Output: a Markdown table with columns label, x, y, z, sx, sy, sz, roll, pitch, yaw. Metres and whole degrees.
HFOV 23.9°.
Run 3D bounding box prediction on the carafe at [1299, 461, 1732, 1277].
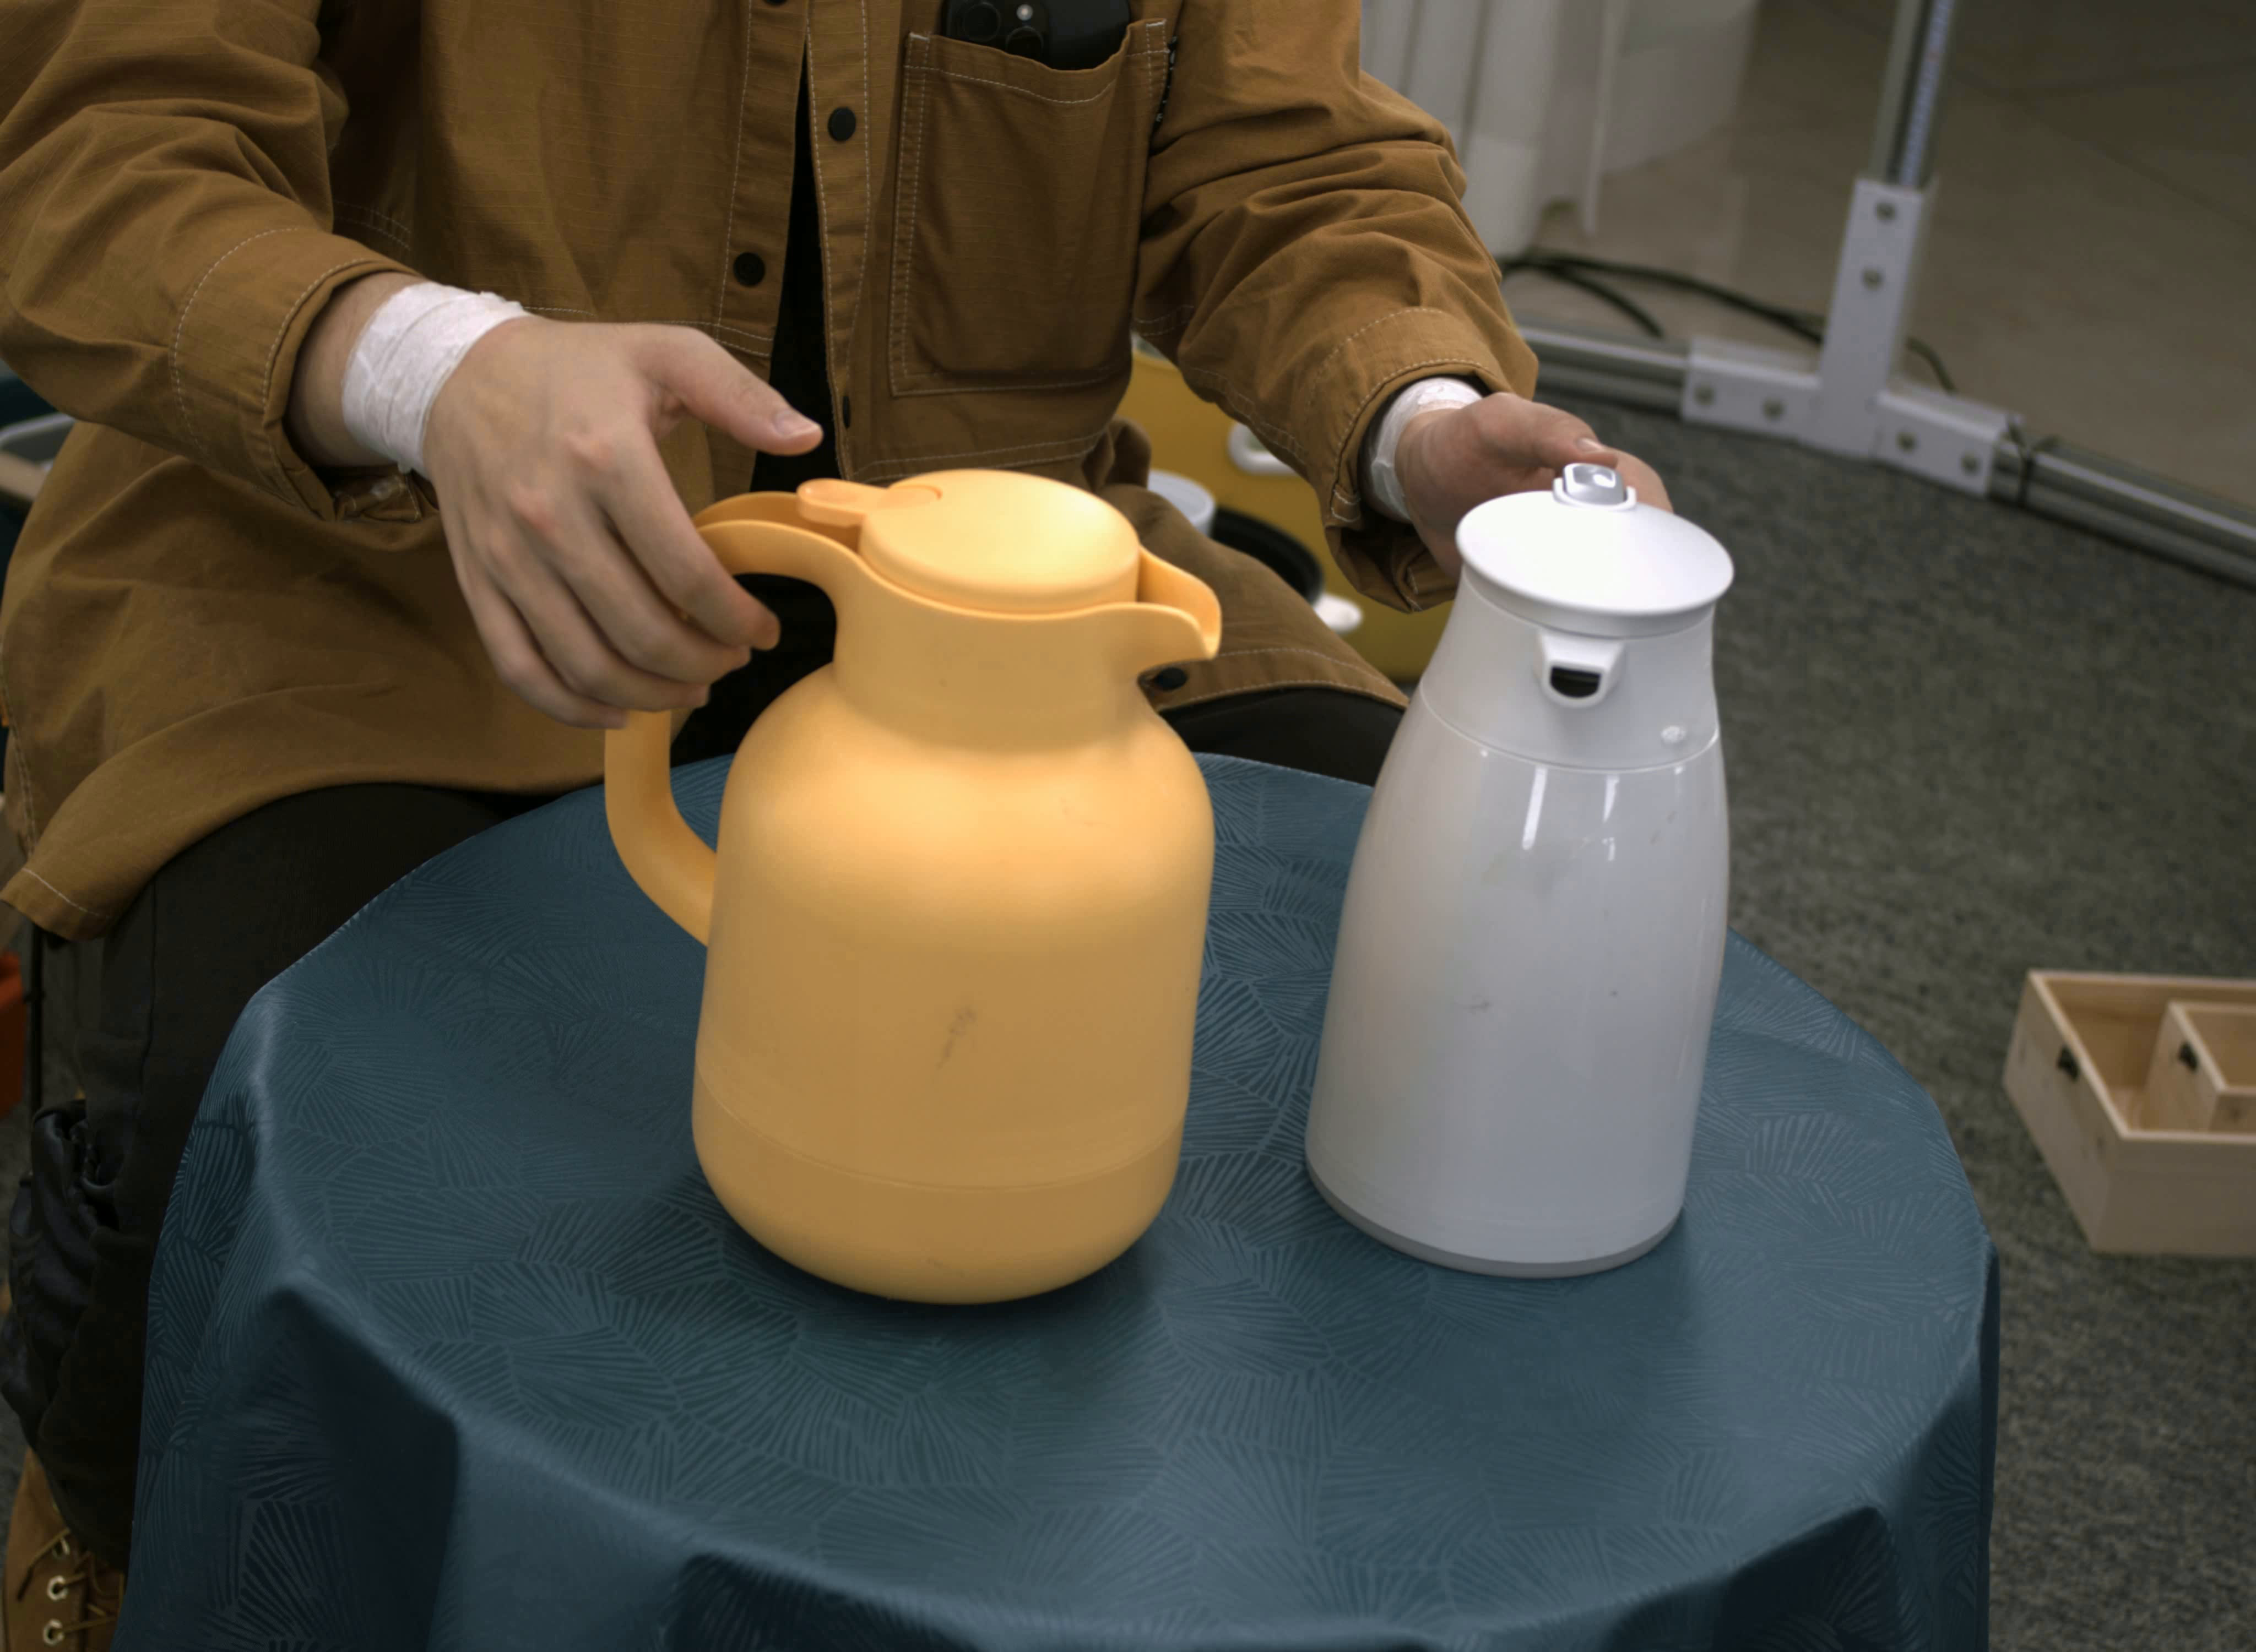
| label | x | y | z | sx | sy | sz | roll | pitch | yaw |
| --- | --- | --- | --- | --- | --- | --- | --- | --- | --- |
| carafe | 0.139 | 0.003 | 1.800 | 0.132 | 0.248 | 0.168 | 8 | 26 | 3 |

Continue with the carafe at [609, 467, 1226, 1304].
| label | x | y | z | sx | sy | sz | roll | pitch | yaw |
| --- | --- | --- | --- | --- | --- | --- | --- | --- | --- |
| carafe | -0.072 | 0.009 | 1.728 | 0.202 | 0.260 | 0.163 | 15 | 25 | 13 |
